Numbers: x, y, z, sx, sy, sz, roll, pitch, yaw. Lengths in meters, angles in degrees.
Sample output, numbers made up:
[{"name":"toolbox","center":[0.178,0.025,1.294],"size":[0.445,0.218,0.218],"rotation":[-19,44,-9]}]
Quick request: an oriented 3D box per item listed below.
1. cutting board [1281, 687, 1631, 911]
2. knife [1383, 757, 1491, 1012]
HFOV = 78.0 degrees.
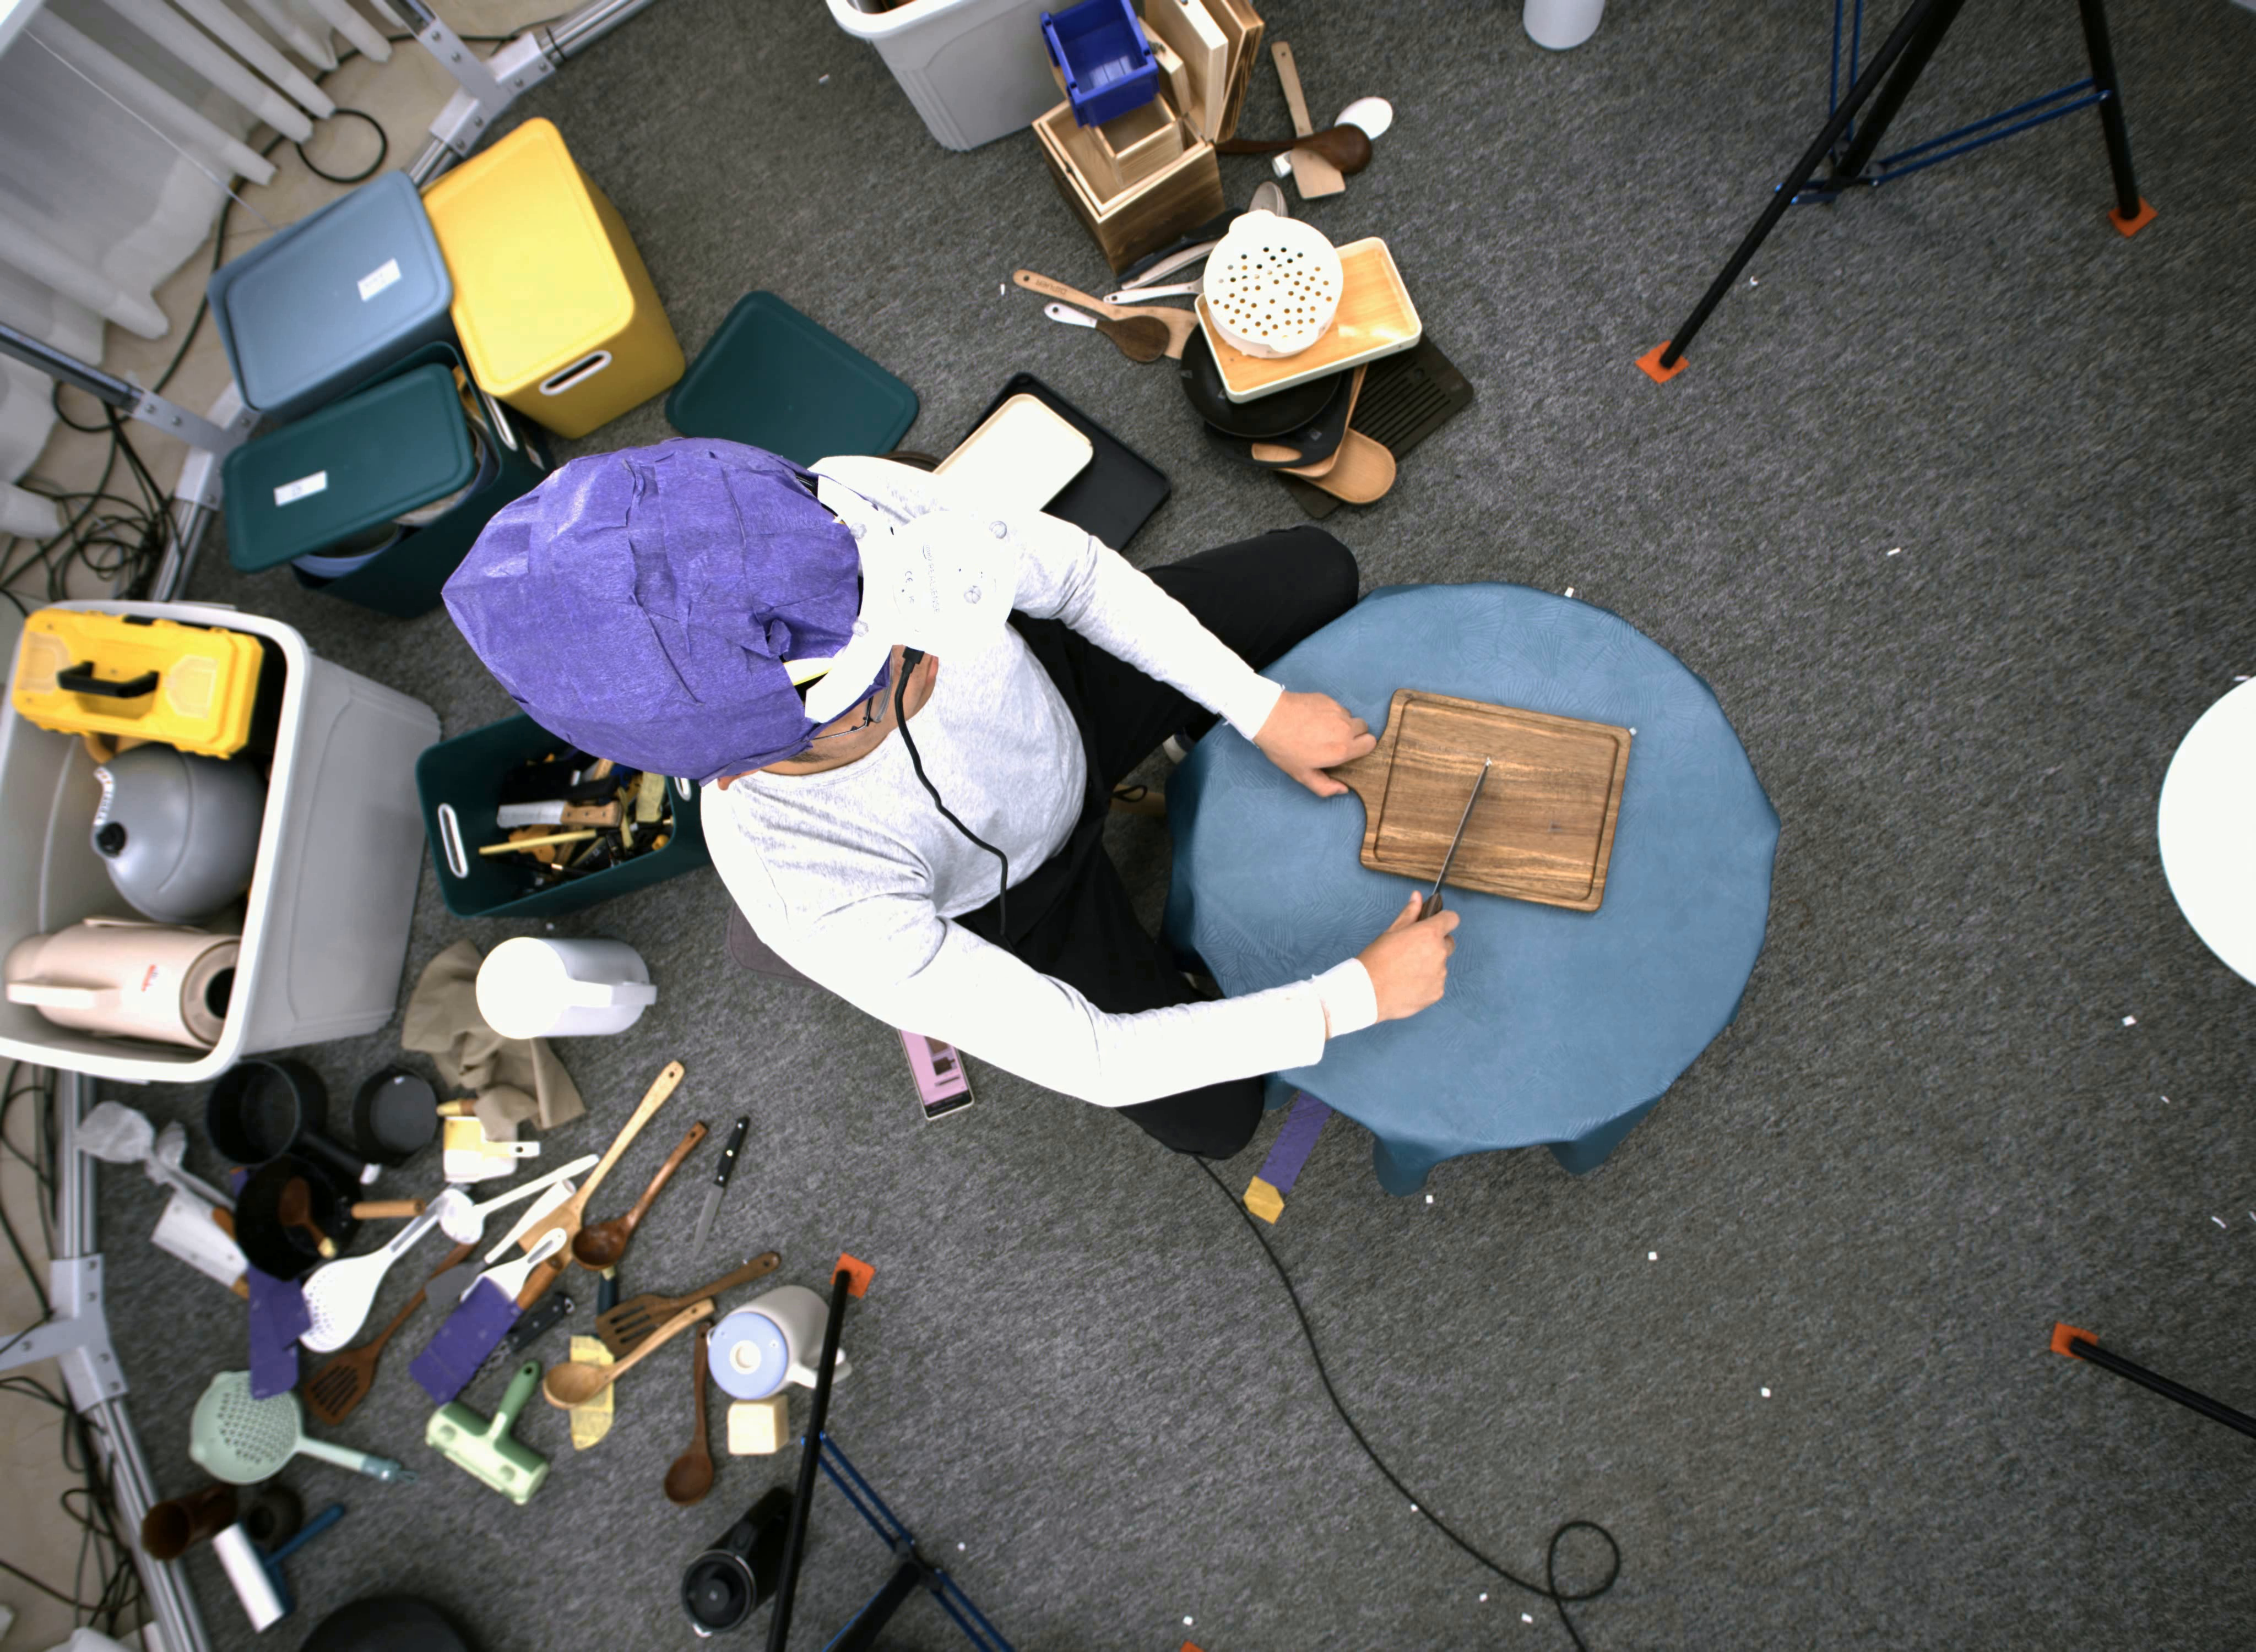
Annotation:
[{"name":"cutting board","center":[0.335,-0.041,1.444],"size":[0.353,0.023,0.200],"rotation":[11,88,11]},{"name":"knife","center":[0.318,0.054,1.400],"size":[0.020,0.051,0.286],"rotation":[24,80,3]}]
